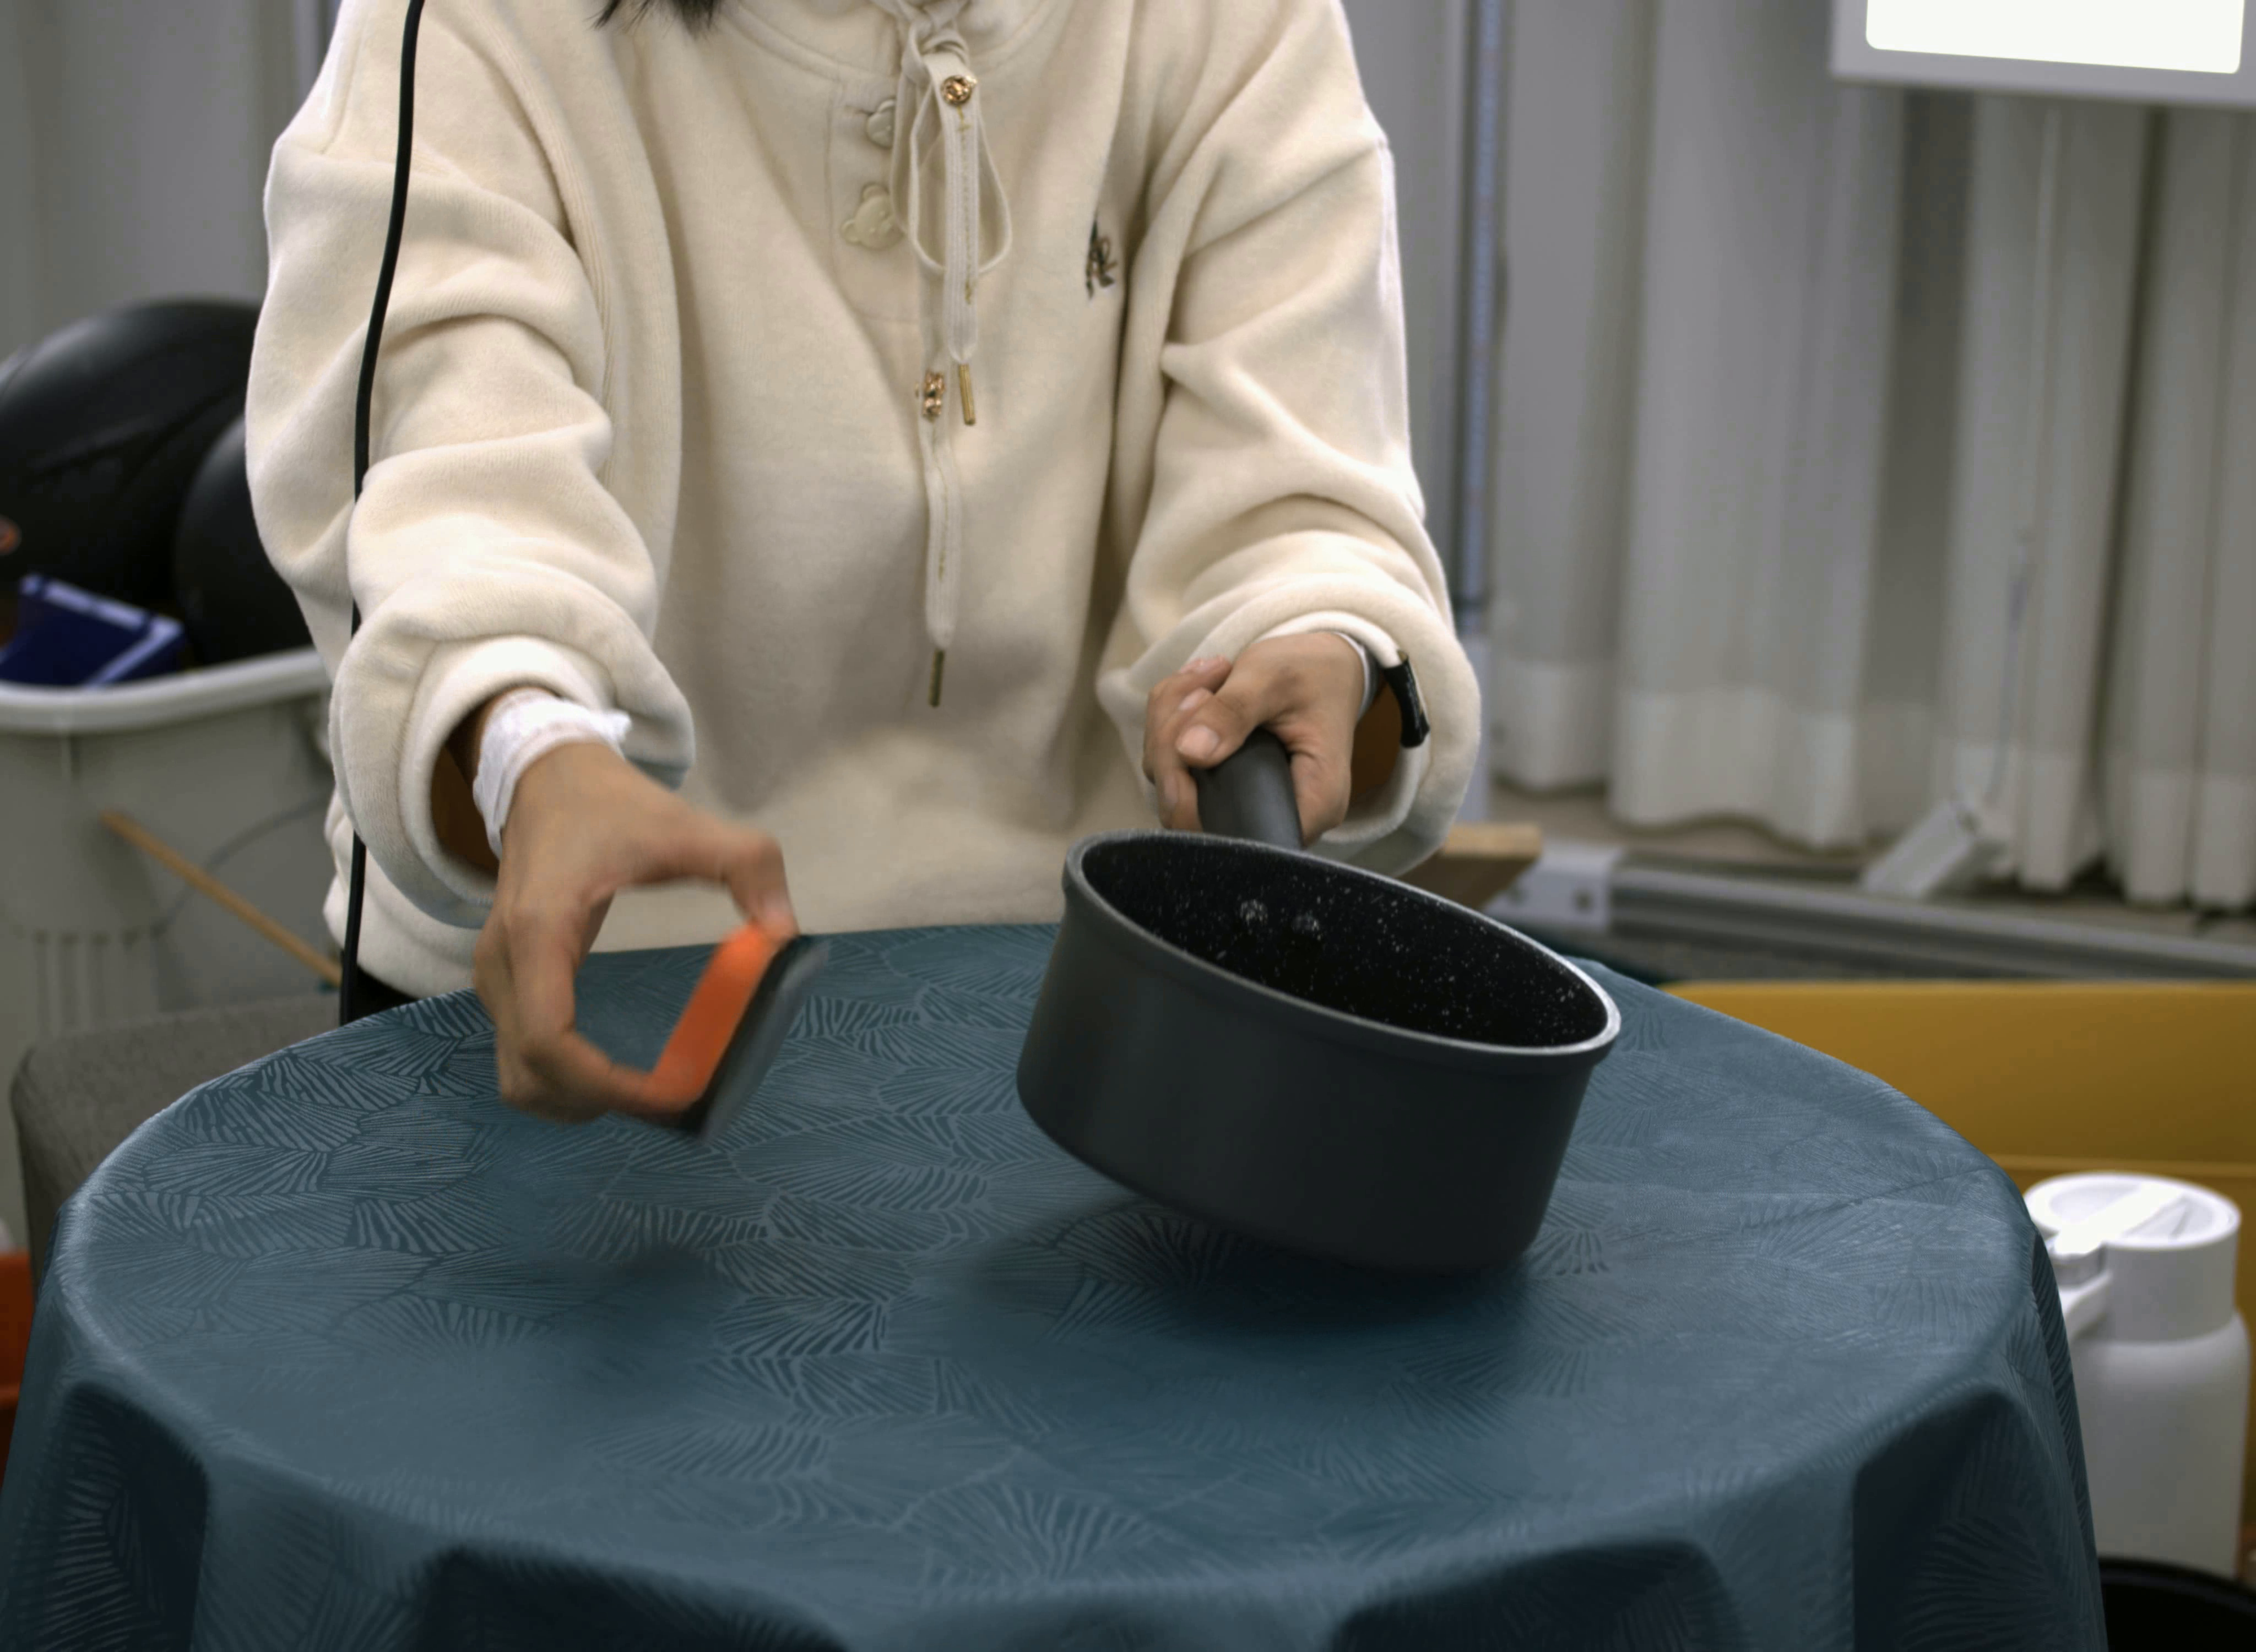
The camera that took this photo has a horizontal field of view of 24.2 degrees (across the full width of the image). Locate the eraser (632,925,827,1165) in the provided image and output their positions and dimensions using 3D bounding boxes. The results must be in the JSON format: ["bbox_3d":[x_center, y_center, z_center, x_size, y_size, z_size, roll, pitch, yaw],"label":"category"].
[{"bbox_3d":[-0.115,0.062,1.527,0.023,0.059,0.108,29,6,1],"label":"eraser"}]

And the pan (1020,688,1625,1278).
[{"bbox_3d":[0.047,0.042,1.629,0.172,0.087,0.326,15,16,-9],"label":"pan"}]
